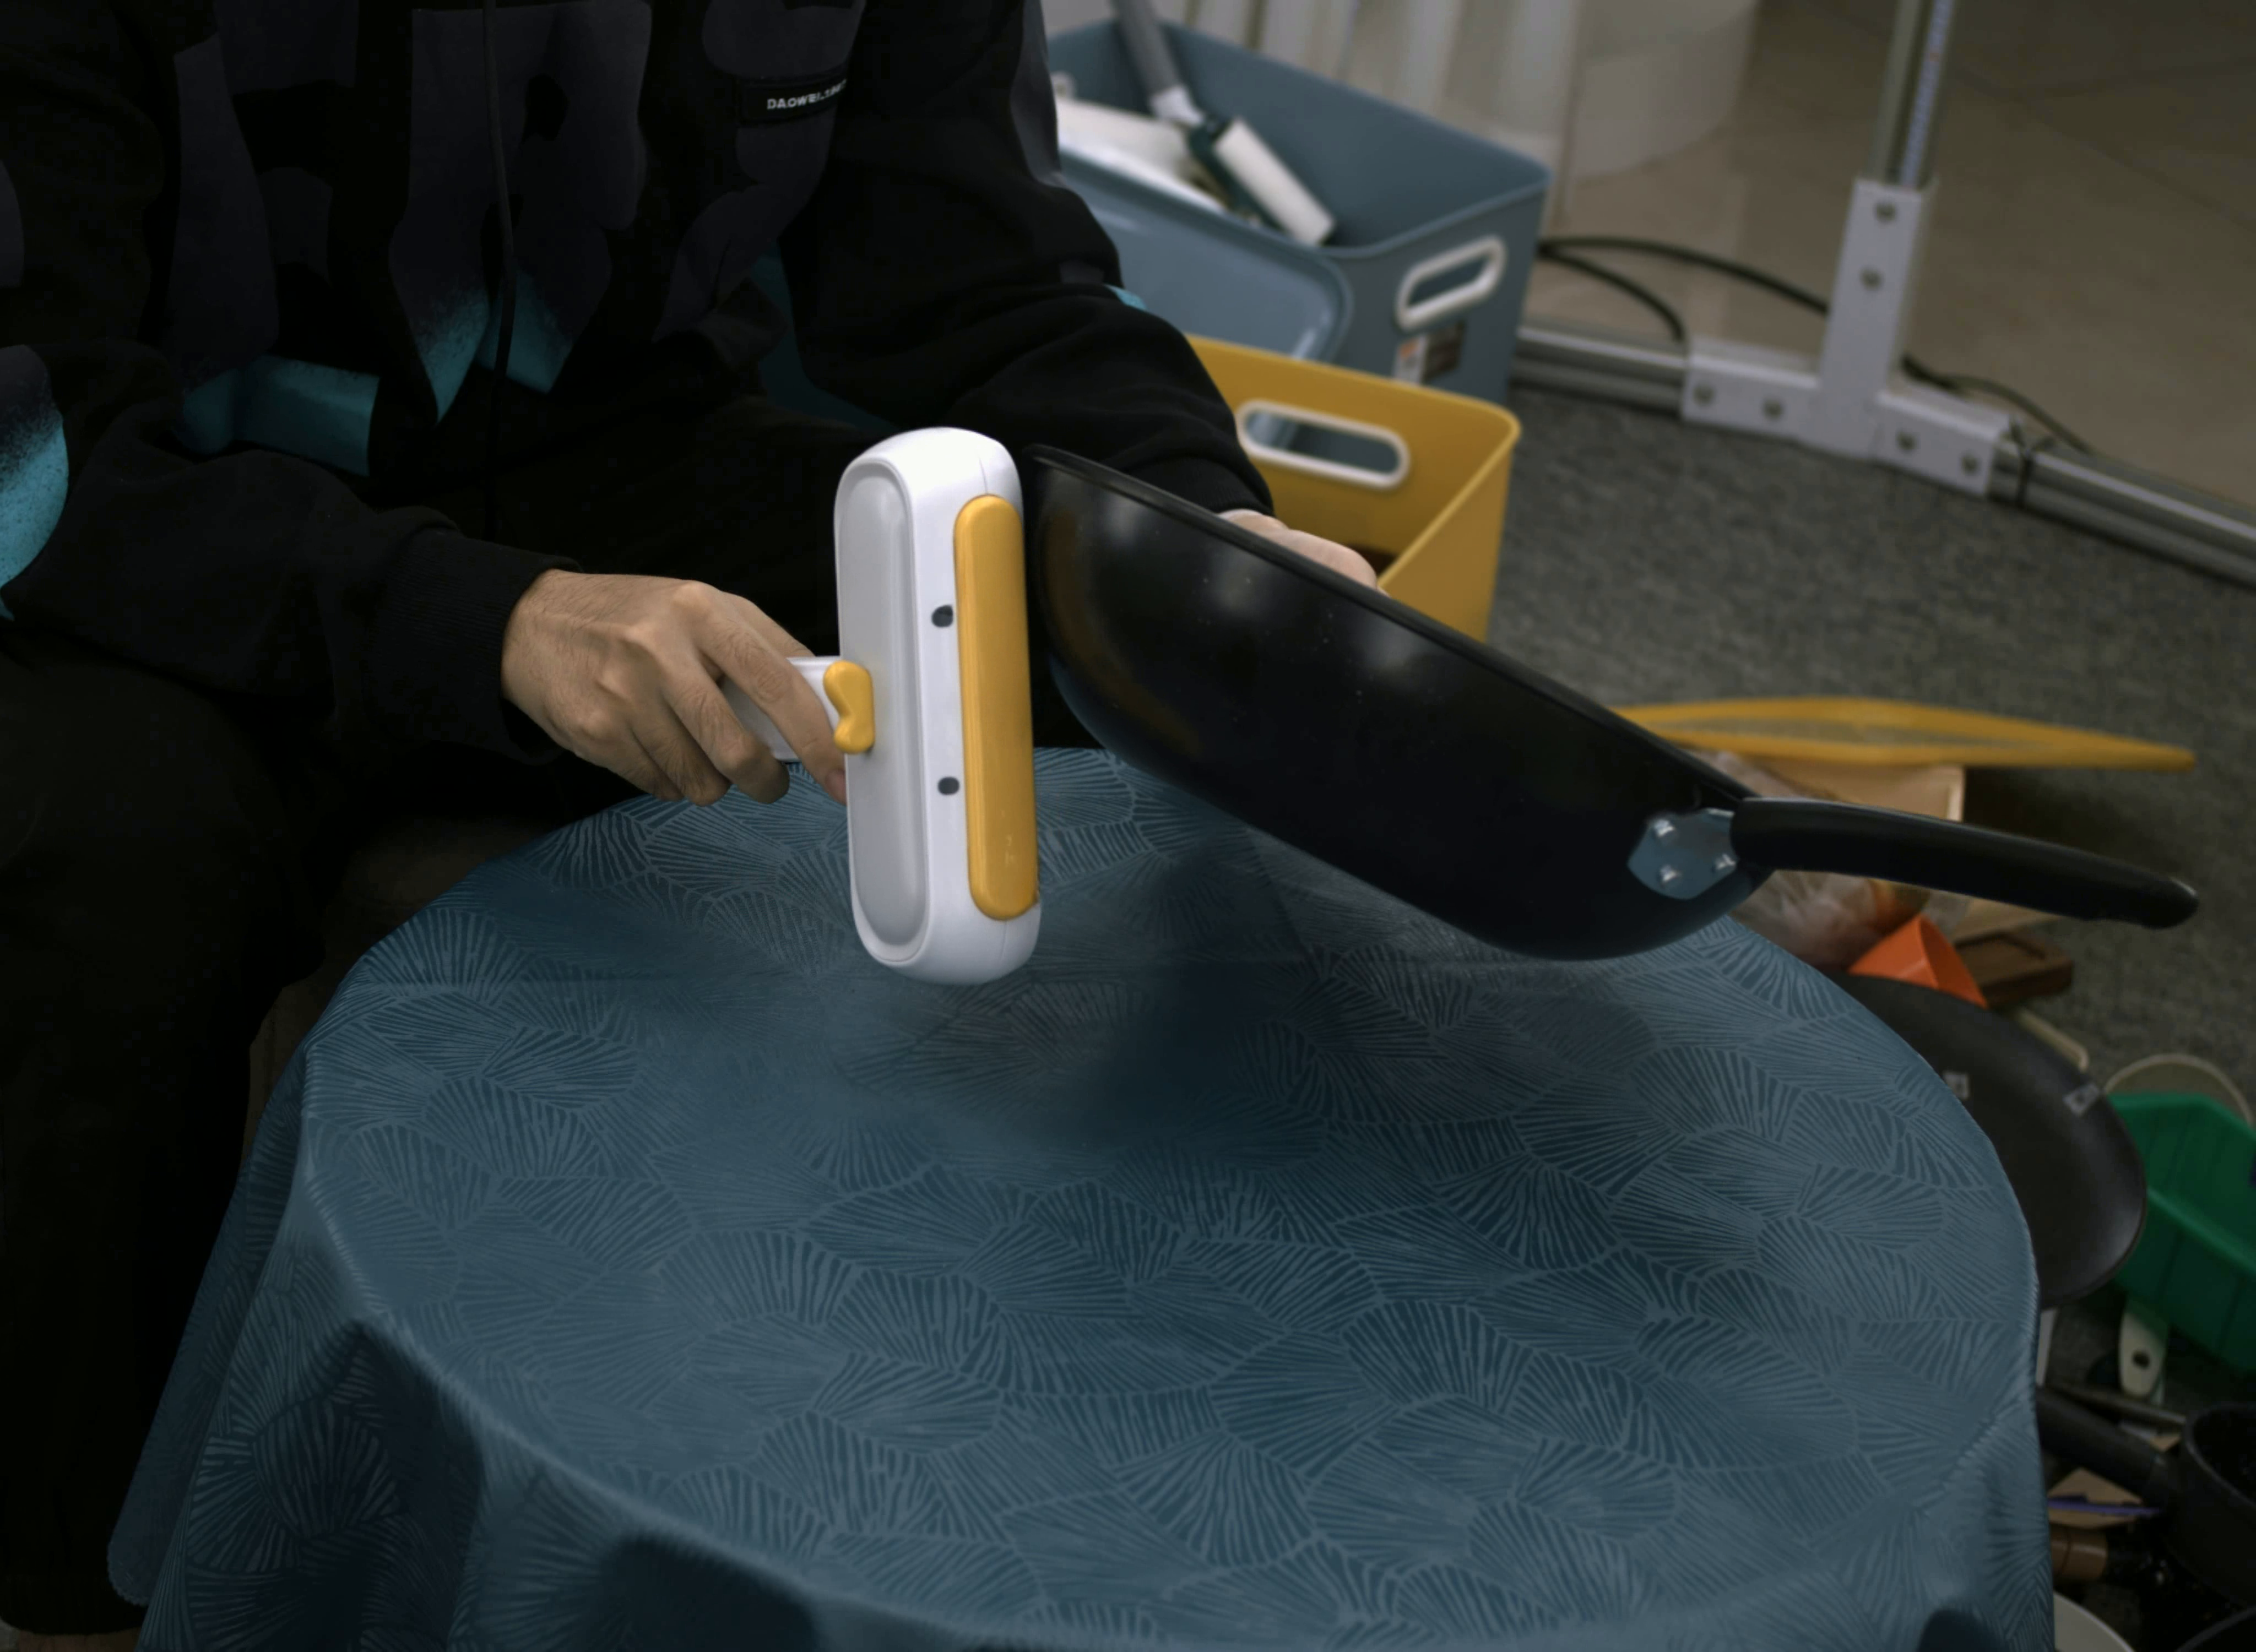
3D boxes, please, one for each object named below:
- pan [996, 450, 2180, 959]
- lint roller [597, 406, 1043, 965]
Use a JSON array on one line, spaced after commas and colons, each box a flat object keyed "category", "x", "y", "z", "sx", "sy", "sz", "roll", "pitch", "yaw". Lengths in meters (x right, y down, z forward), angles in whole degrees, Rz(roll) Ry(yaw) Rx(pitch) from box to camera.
[{"category": "pan", "x": 0.140, "y": -0.011, "z": 1.809, "sx": 0.480, "sy": 0.112, "sz": 0.307, "roll": 26, "pitch": 1, "yaw": 41}, {"category": "lint roller", "x": -0.110, "y": -0.043, "z": 1.880, "sx": 0.073, "sy": 0.193, "sz": 0.193, "roll": -10, "pitch": 3, "yaw": -41}]
